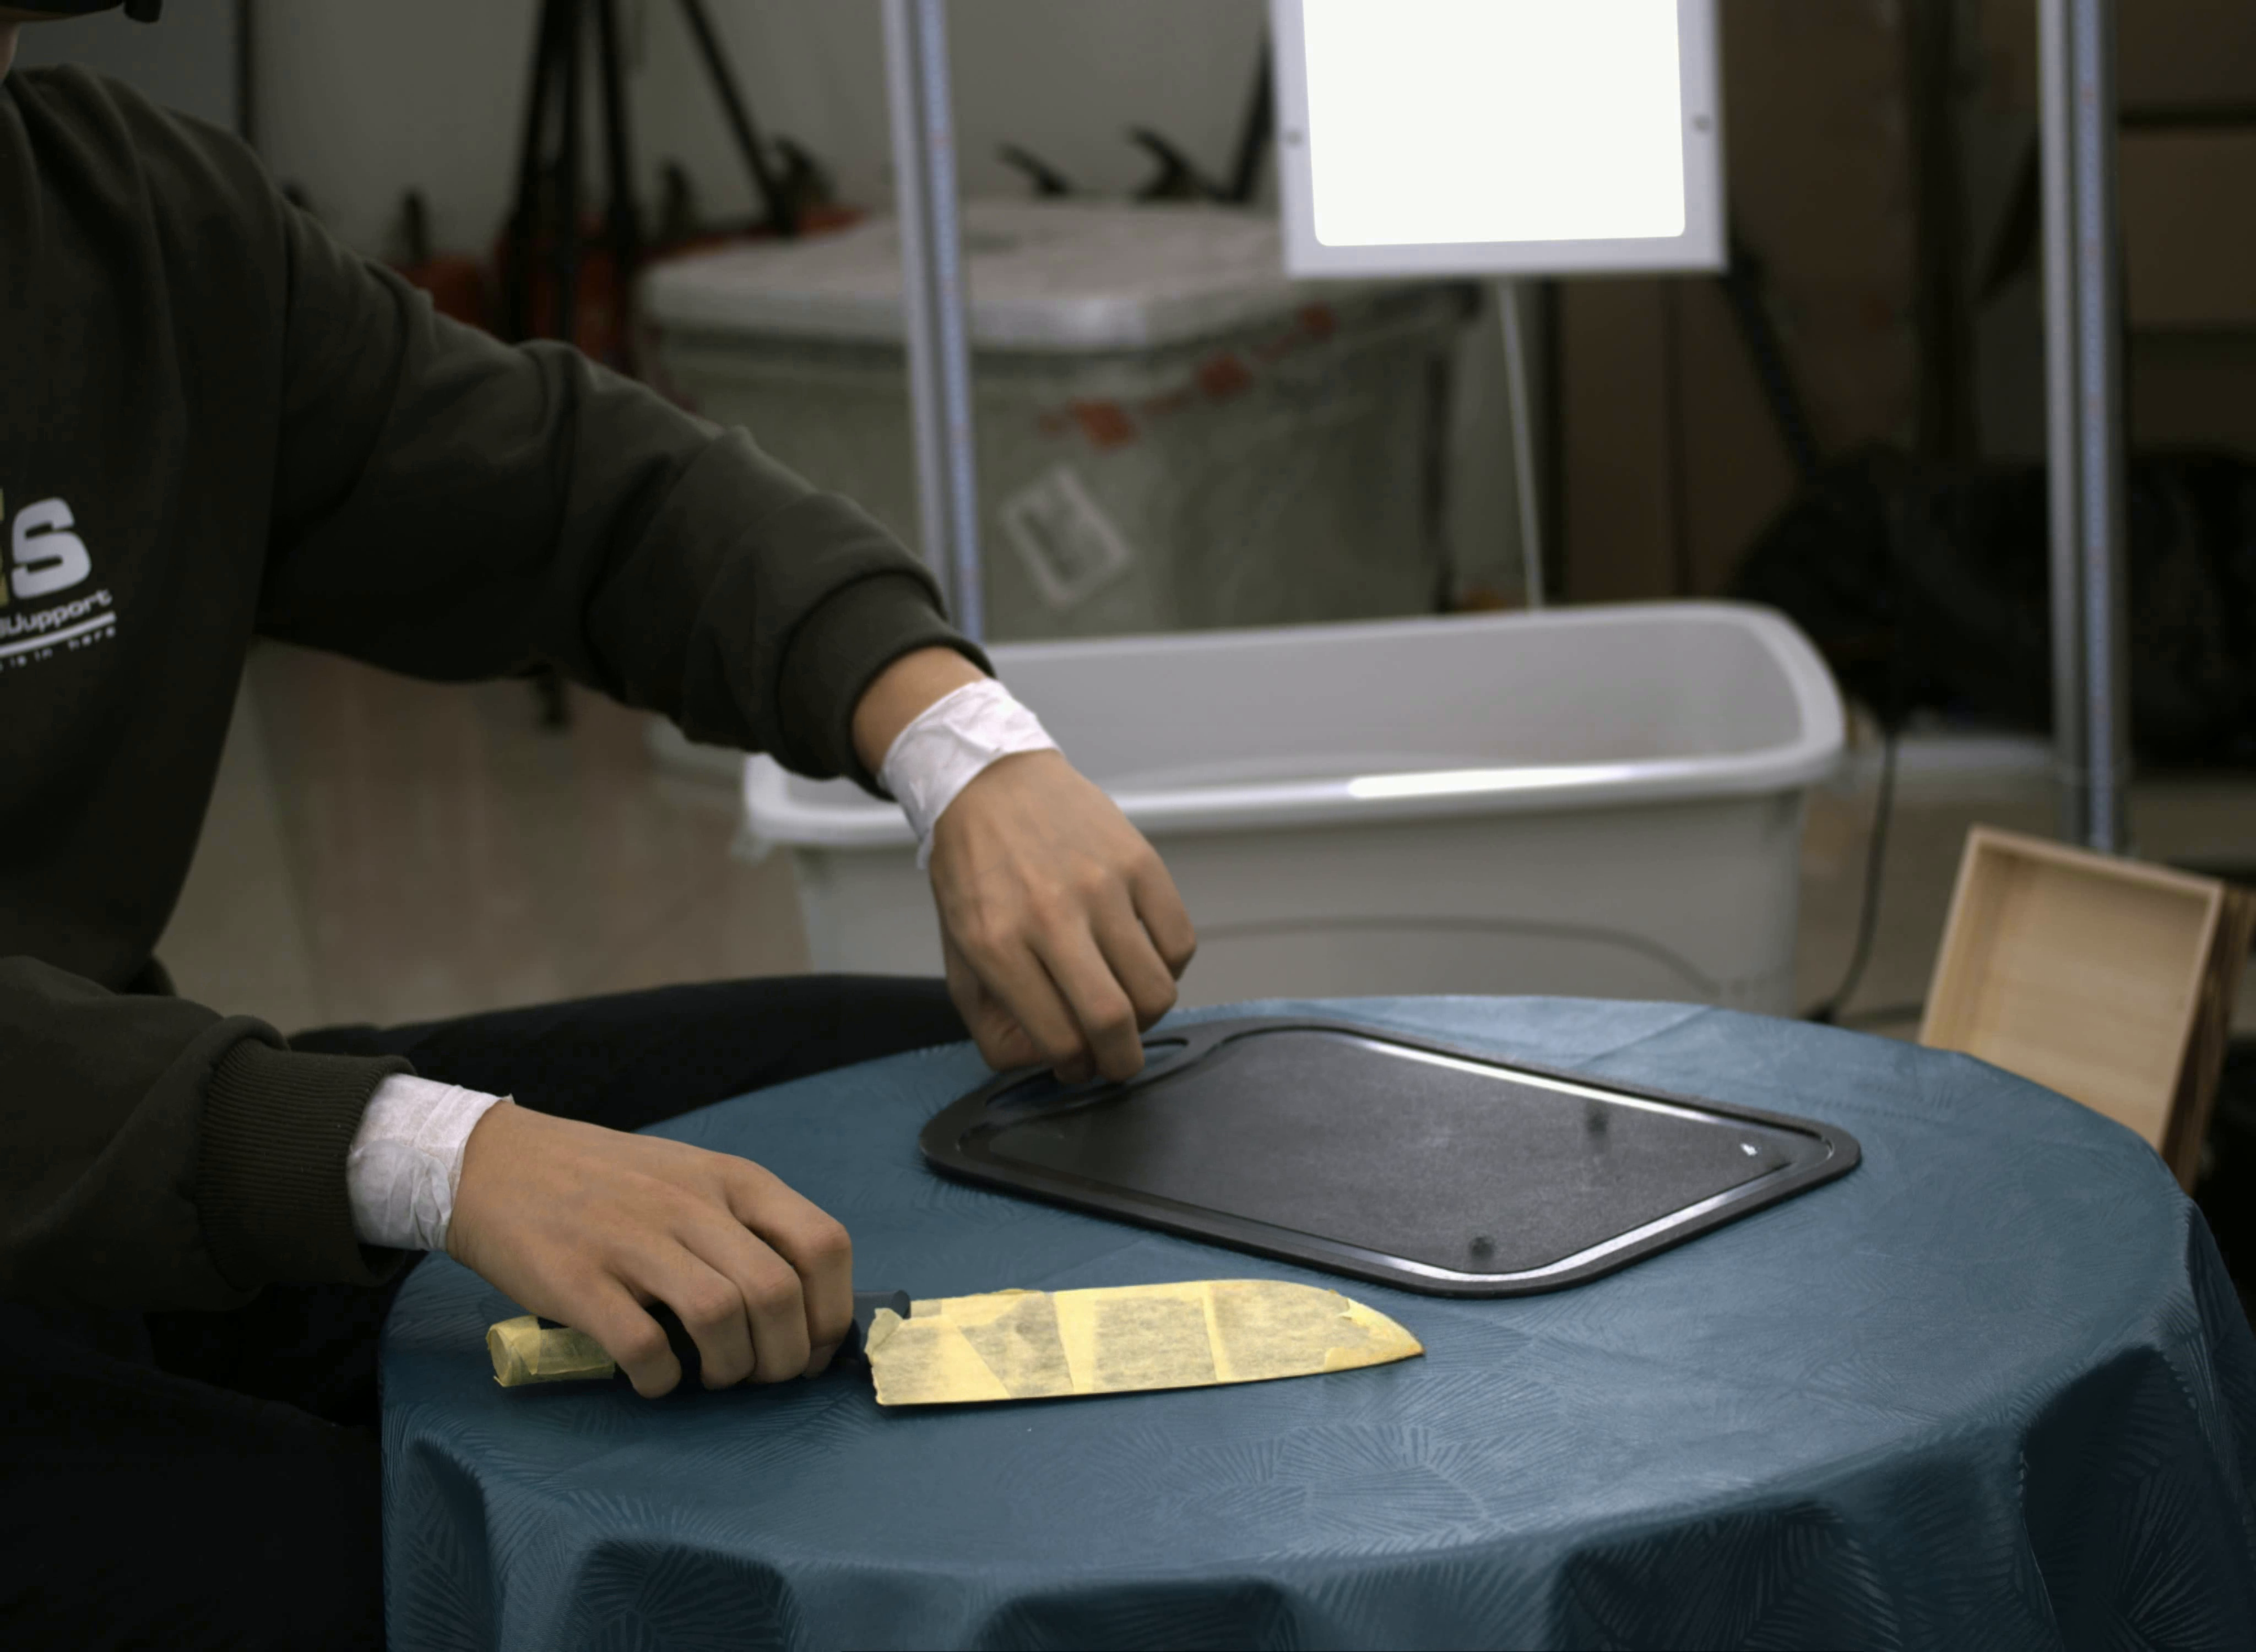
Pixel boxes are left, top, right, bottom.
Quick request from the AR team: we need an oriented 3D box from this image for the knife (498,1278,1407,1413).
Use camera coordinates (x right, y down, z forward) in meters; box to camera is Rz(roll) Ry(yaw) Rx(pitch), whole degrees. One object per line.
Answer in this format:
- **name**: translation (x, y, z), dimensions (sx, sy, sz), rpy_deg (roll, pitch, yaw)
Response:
- **knife**: translation (-0.055, 0.166, 1.733), dimensions (0.289, 0.027, 0.081), rpy_deg (-5, 18, 3)

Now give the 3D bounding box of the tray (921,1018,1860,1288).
- **tray**: translation (0.082, 0.109, 1.922), dimensions (0.206, 0.010, 0.332), rpy_deg (-17, 19, -40)
